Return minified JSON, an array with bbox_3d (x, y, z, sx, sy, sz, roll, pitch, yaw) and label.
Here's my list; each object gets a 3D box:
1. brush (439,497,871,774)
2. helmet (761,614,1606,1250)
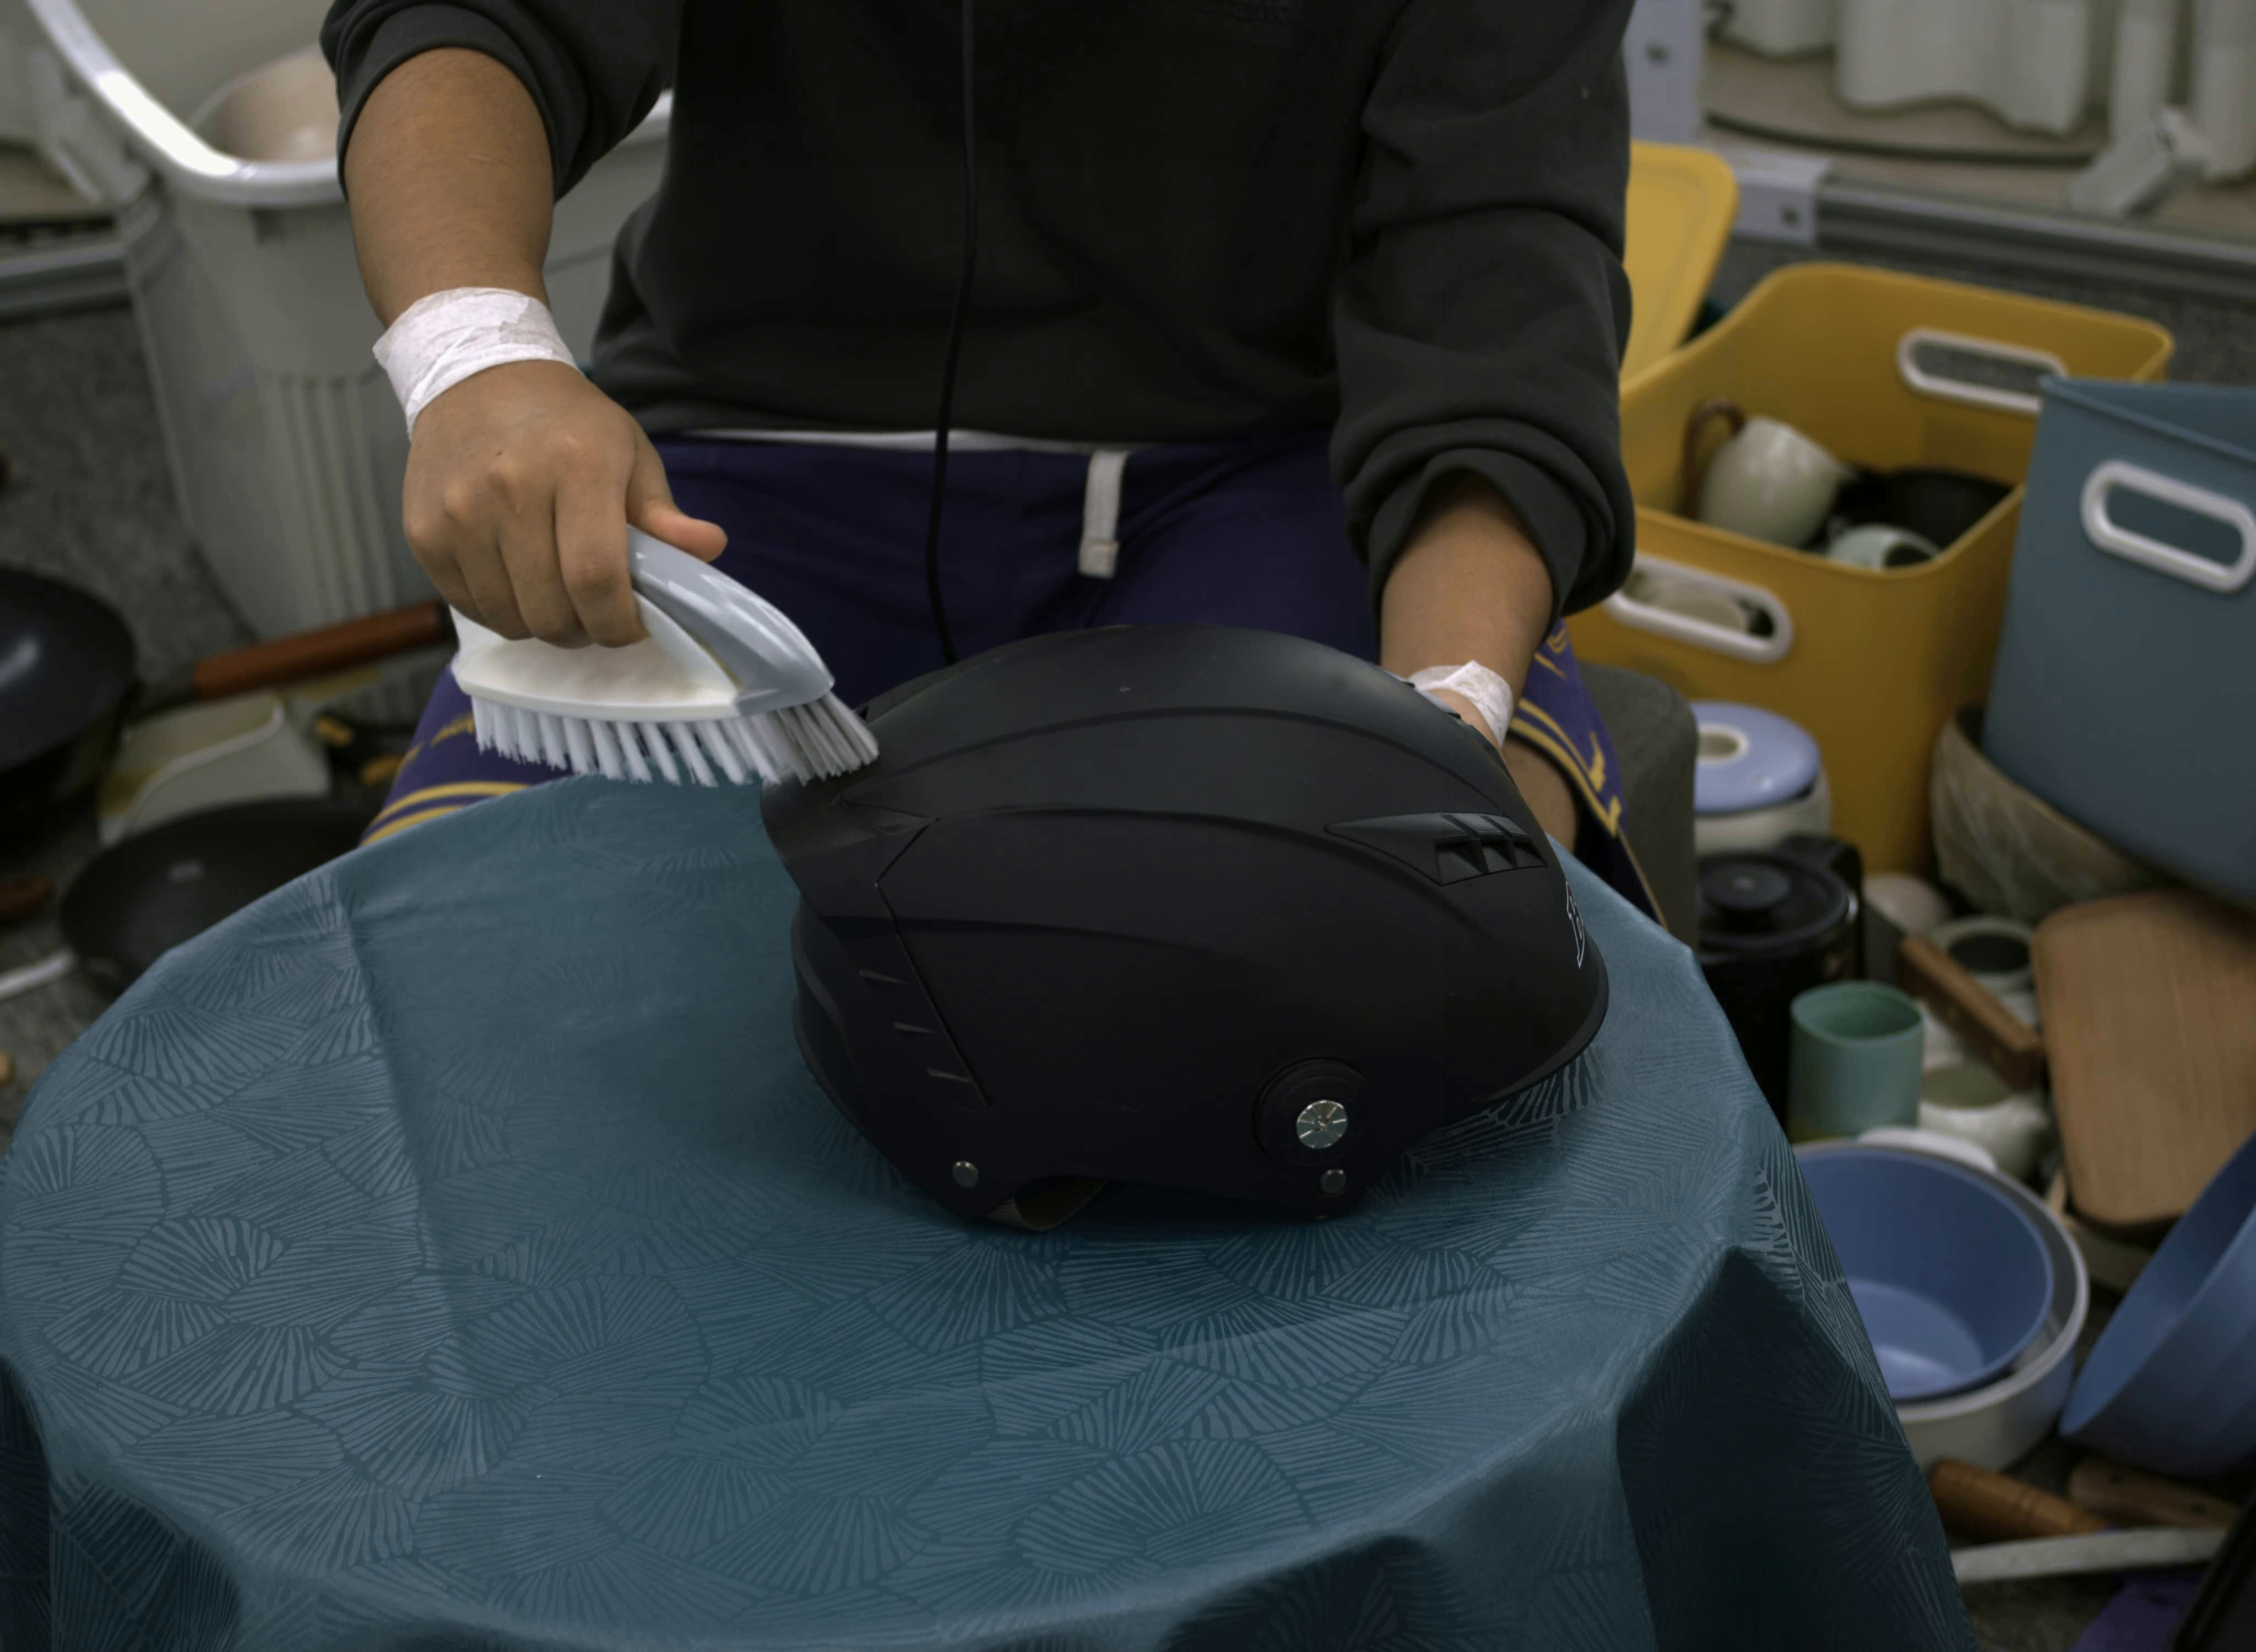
[{"bbox_3d":[-0.164,-0.067,1.891,0.174,0.093,0.062,13,50,40],"label":"brush"},{"bbox_3d":[0.017,0.017,1.892,0.275,0.170,0.250,-9,28,-1],"label":"helmet"}]
